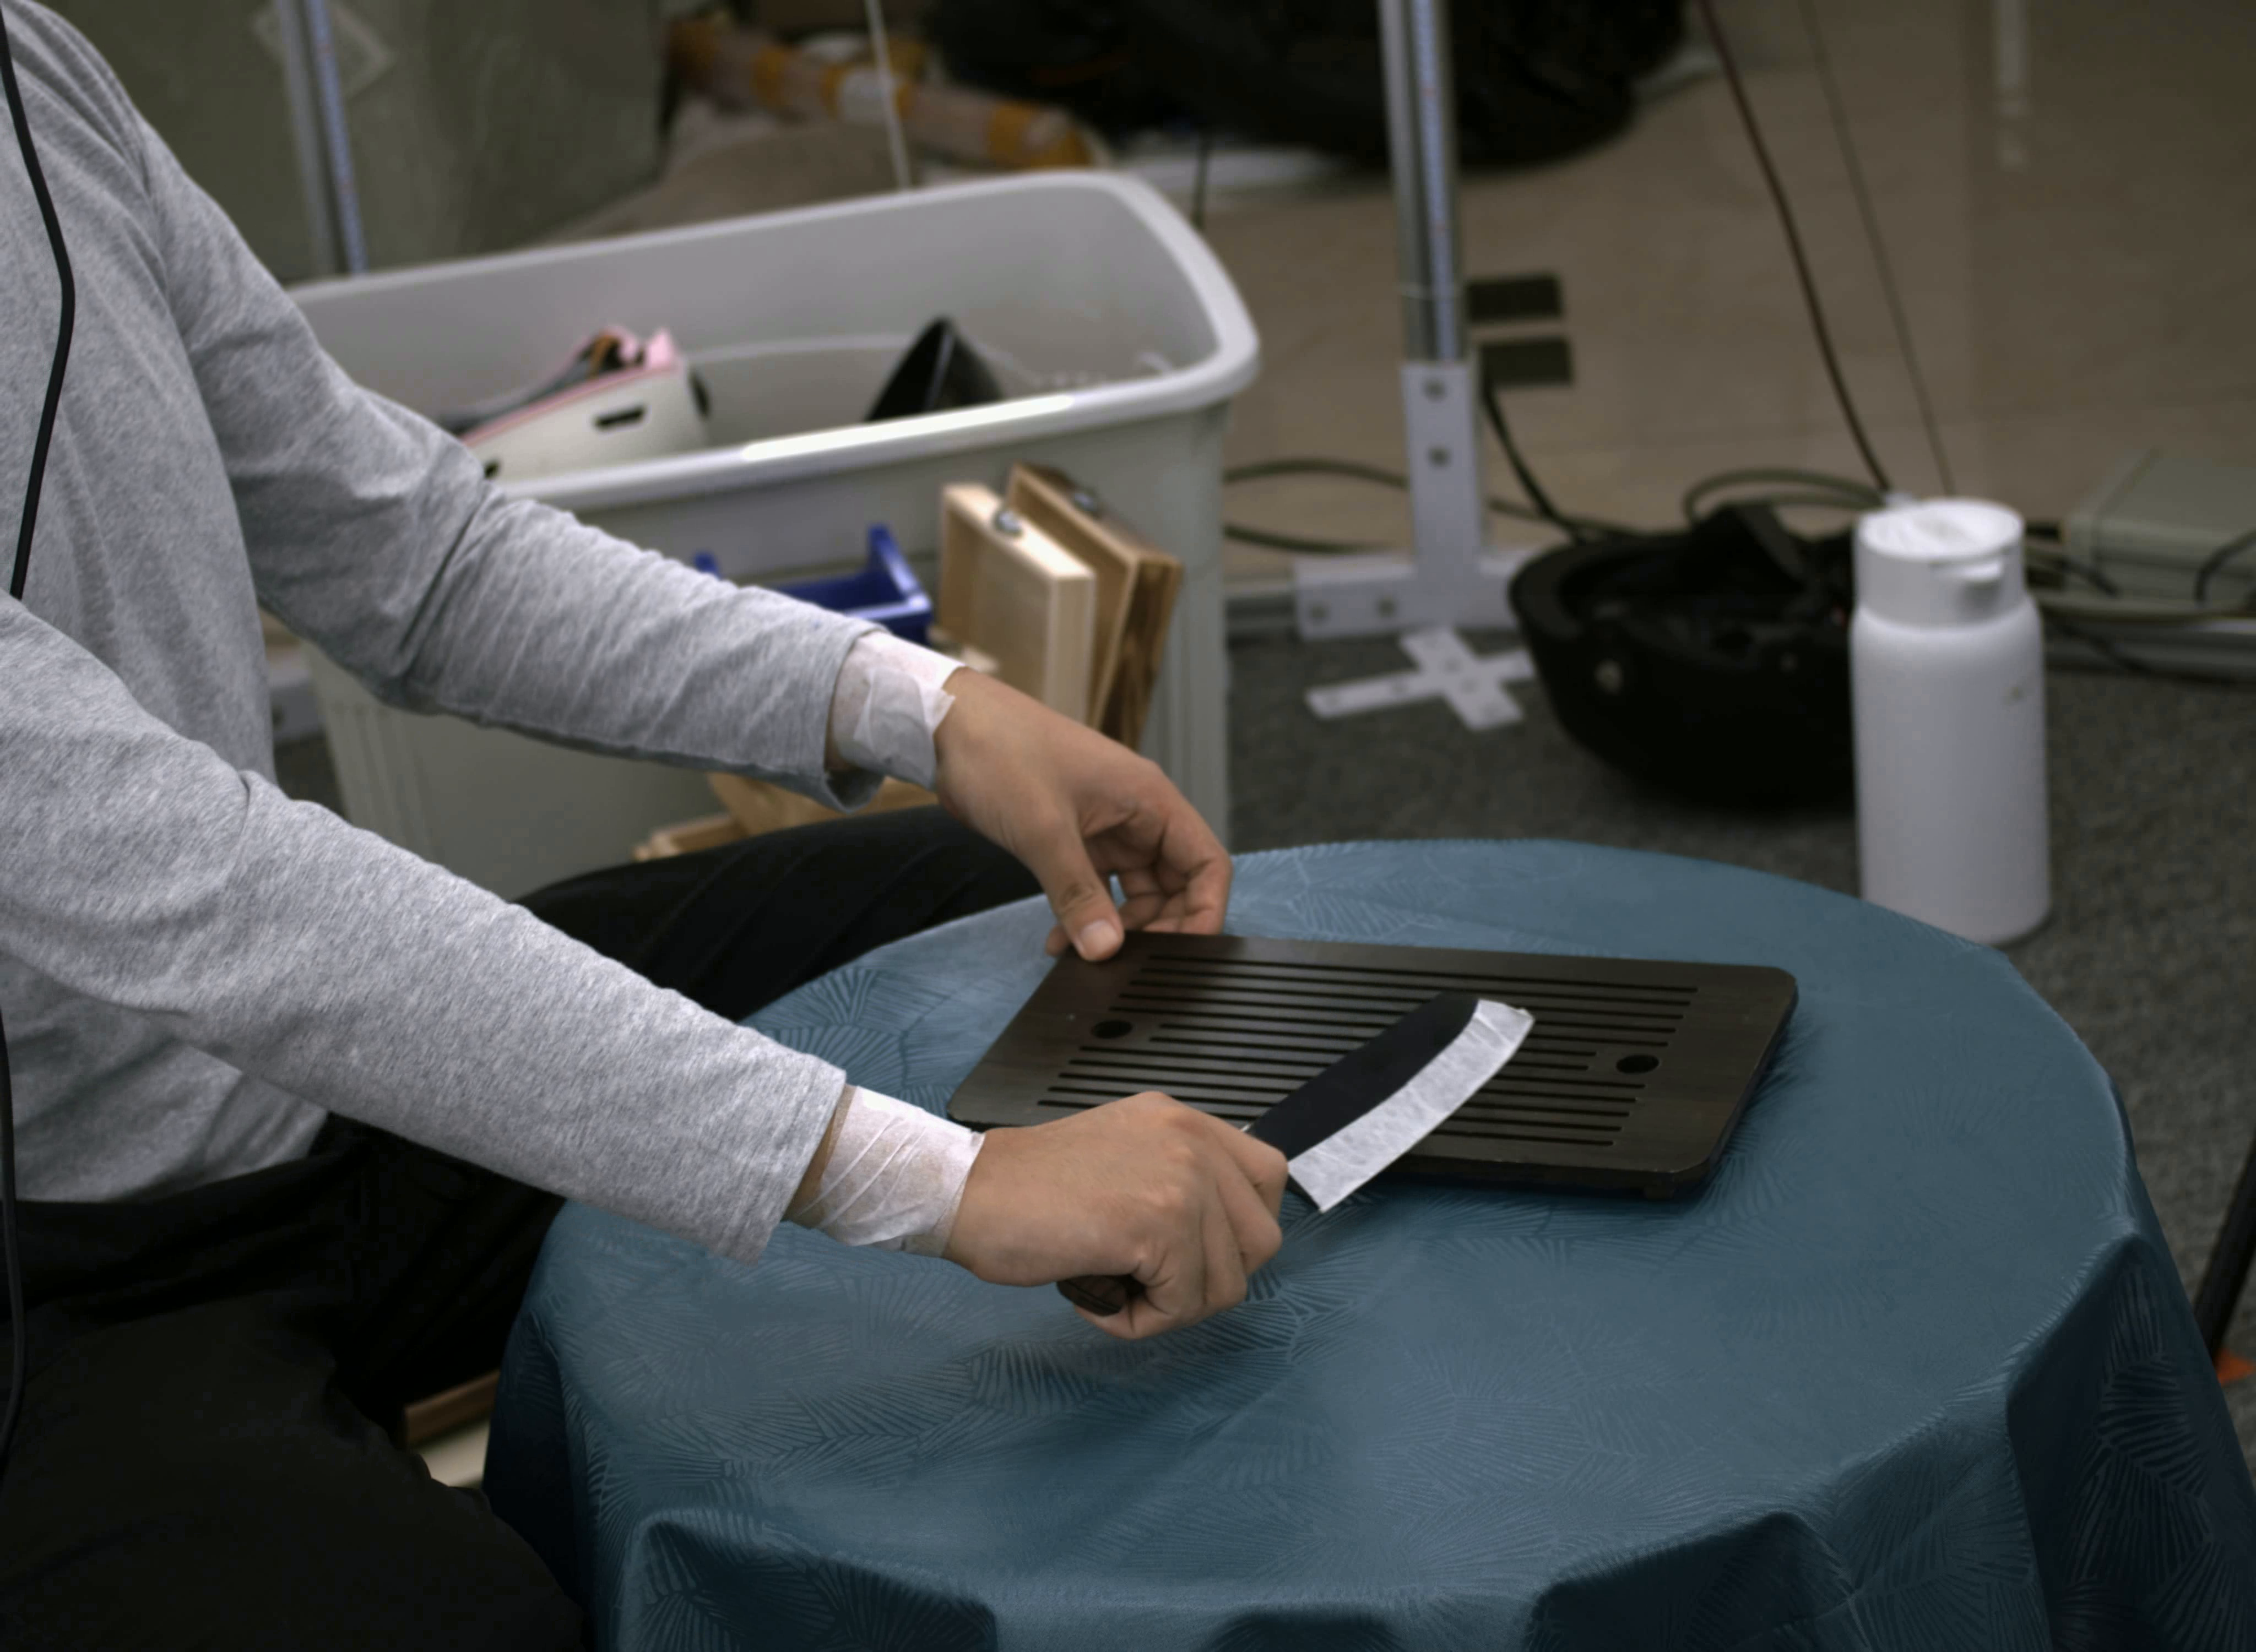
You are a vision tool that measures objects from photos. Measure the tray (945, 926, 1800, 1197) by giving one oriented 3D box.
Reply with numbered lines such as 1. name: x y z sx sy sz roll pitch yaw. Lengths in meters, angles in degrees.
1. tray: 0.096 0.091 2.211 0.305 0.019 0.168 3 27 21

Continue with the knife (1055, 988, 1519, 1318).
1. knife: 0.065 0.117 2.102 0.050 0.020 0.286 48 41 11
